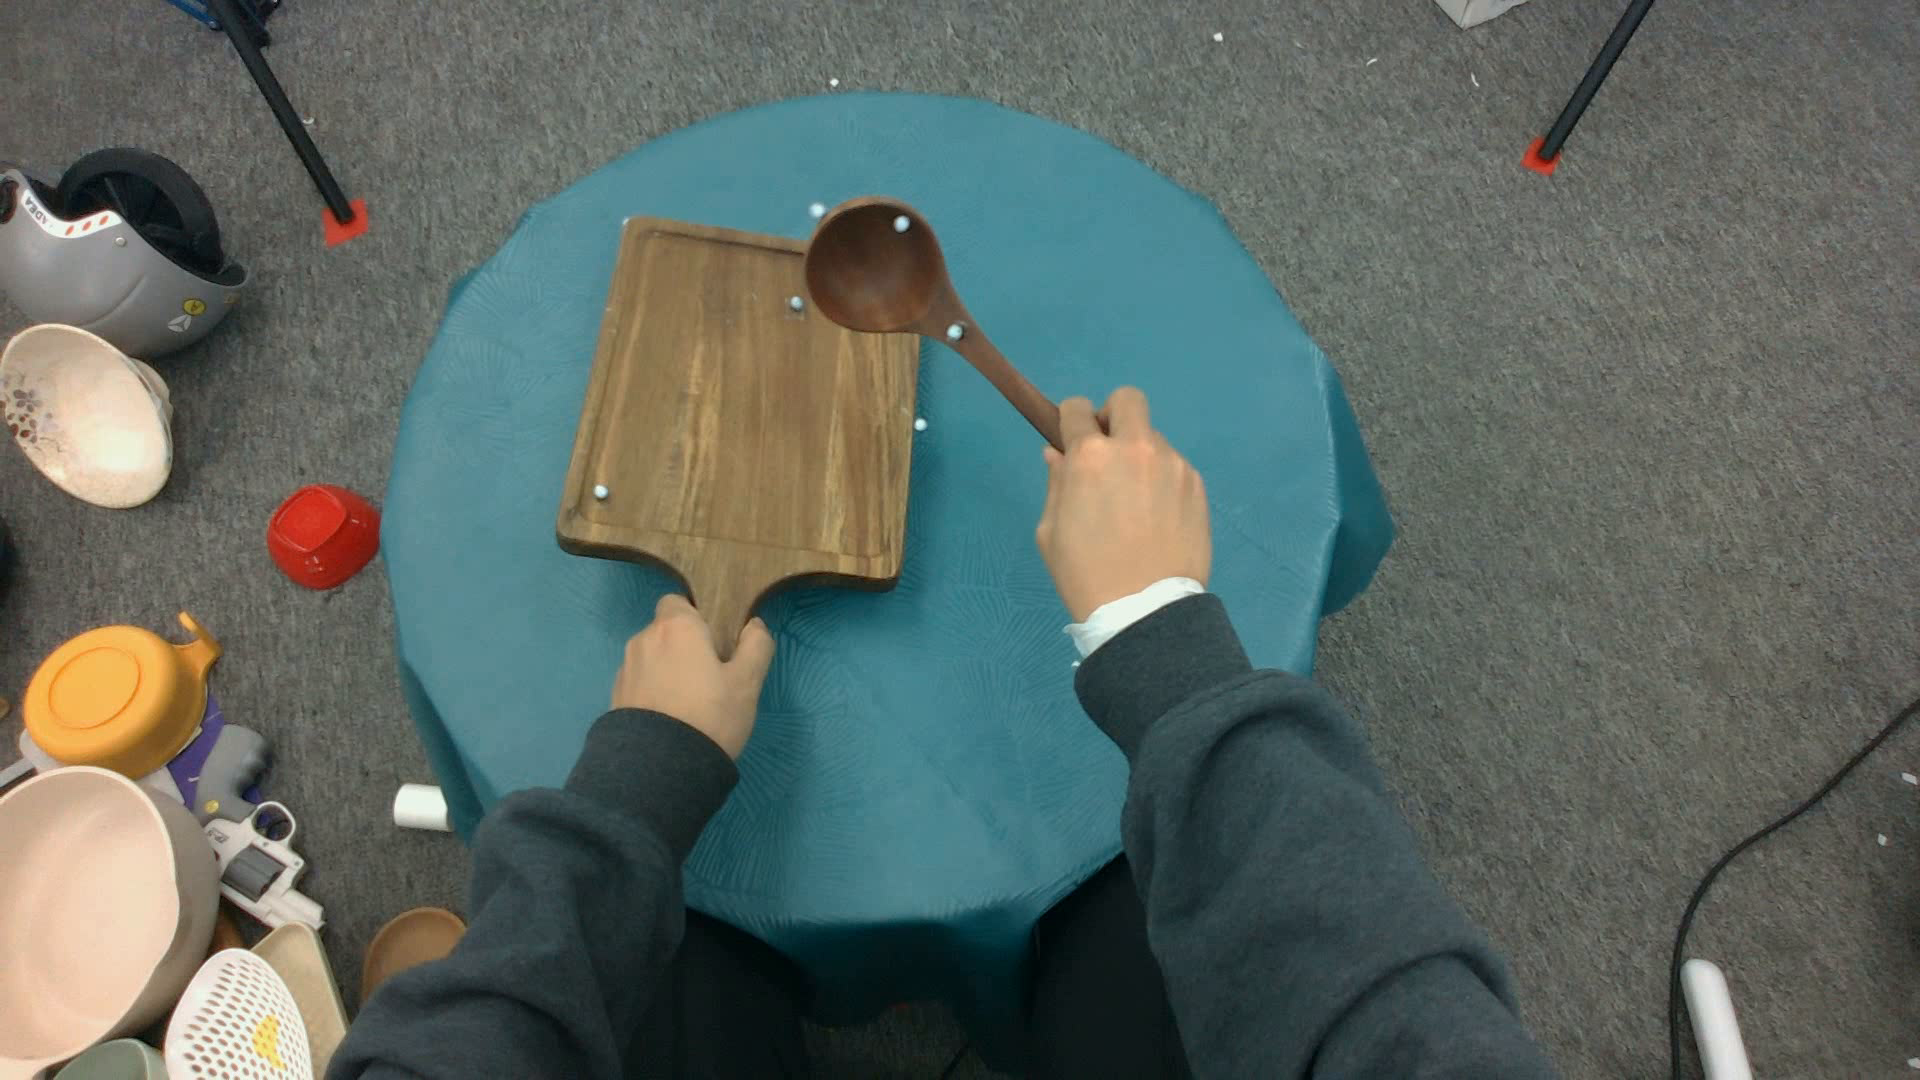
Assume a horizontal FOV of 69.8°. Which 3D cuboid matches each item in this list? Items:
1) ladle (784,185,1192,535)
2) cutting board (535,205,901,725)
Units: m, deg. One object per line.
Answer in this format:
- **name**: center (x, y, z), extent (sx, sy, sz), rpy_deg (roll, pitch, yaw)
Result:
- **ladle**: center (0.014, -0.088, 0.721), extent (0.260, 0.076, 0.065), rpy_deg (43, 27, 11)
- **cutting board**: center (-0.139, -0.056, 0.817), extent (0.201, 0.023, 0.353), rpy_deg (7, 58, -7)
